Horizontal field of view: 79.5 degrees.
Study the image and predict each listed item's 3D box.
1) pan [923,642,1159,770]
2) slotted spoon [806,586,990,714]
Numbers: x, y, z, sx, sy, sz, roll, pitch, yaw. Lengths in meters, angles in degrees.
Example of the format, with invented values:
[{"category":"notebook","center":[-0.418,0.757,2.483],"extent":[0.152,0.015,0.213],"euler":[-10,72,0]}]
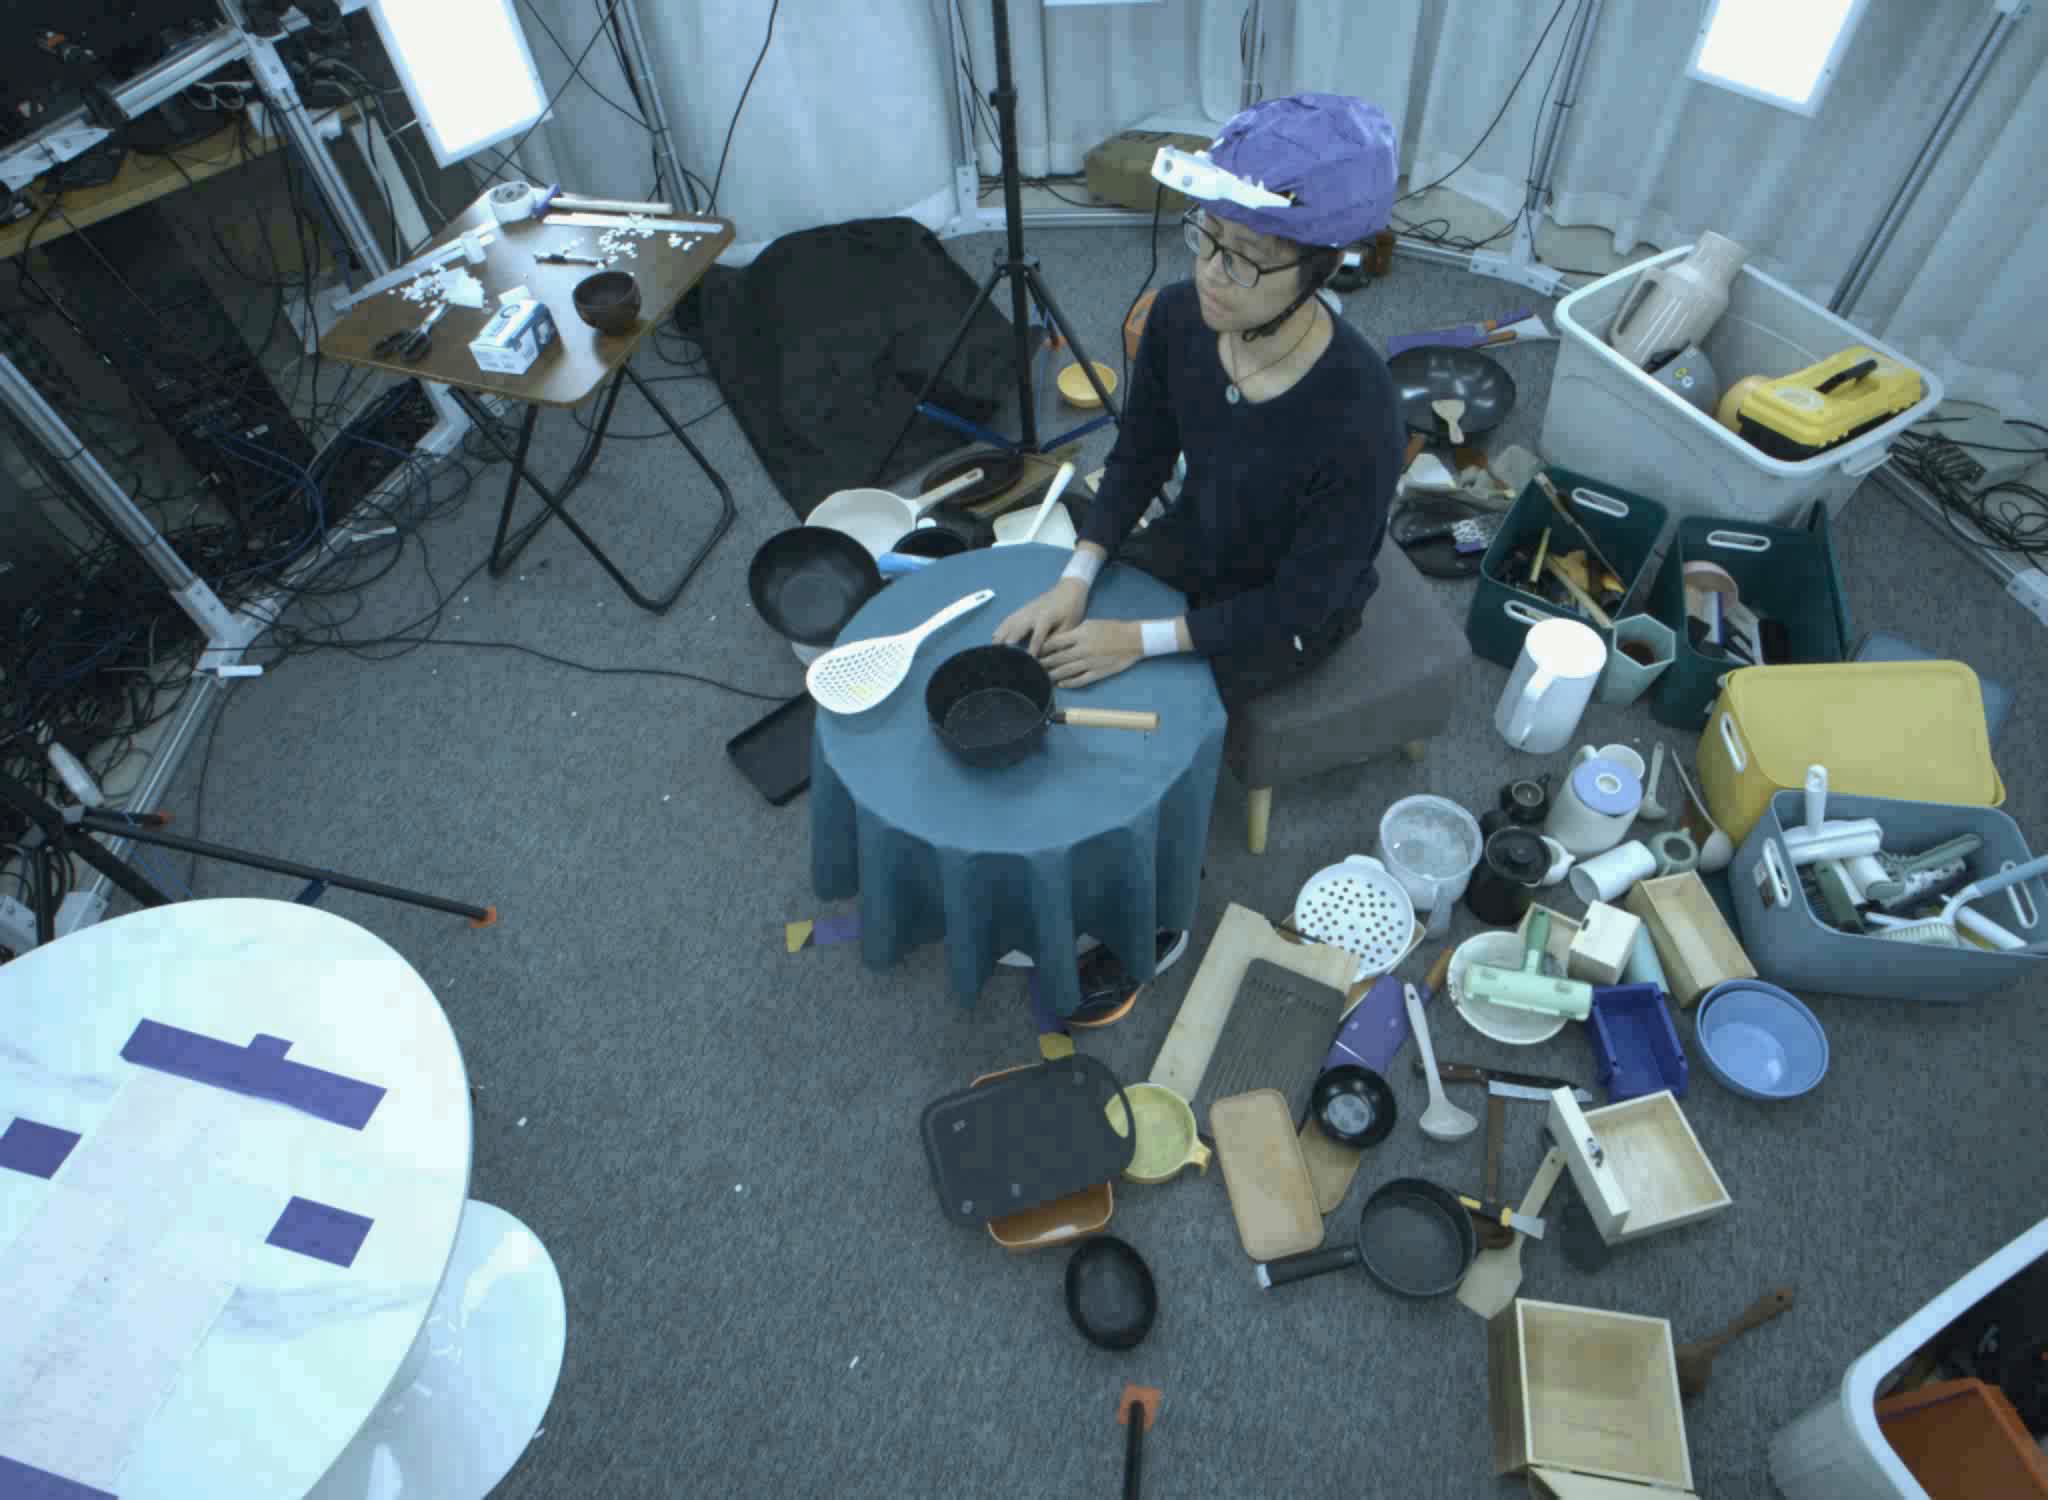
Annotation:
[{"category":"pan","center":[0.027,-0.048,1.754],"extent":[0.340,0.109,0.207],"euler":[11,55,12]},{"category":"slotted spoon","center":[-0.178,-0.164,1.883],"extent":[0.350,0.051,0.134],"euler":[-41,60,-22]}]
